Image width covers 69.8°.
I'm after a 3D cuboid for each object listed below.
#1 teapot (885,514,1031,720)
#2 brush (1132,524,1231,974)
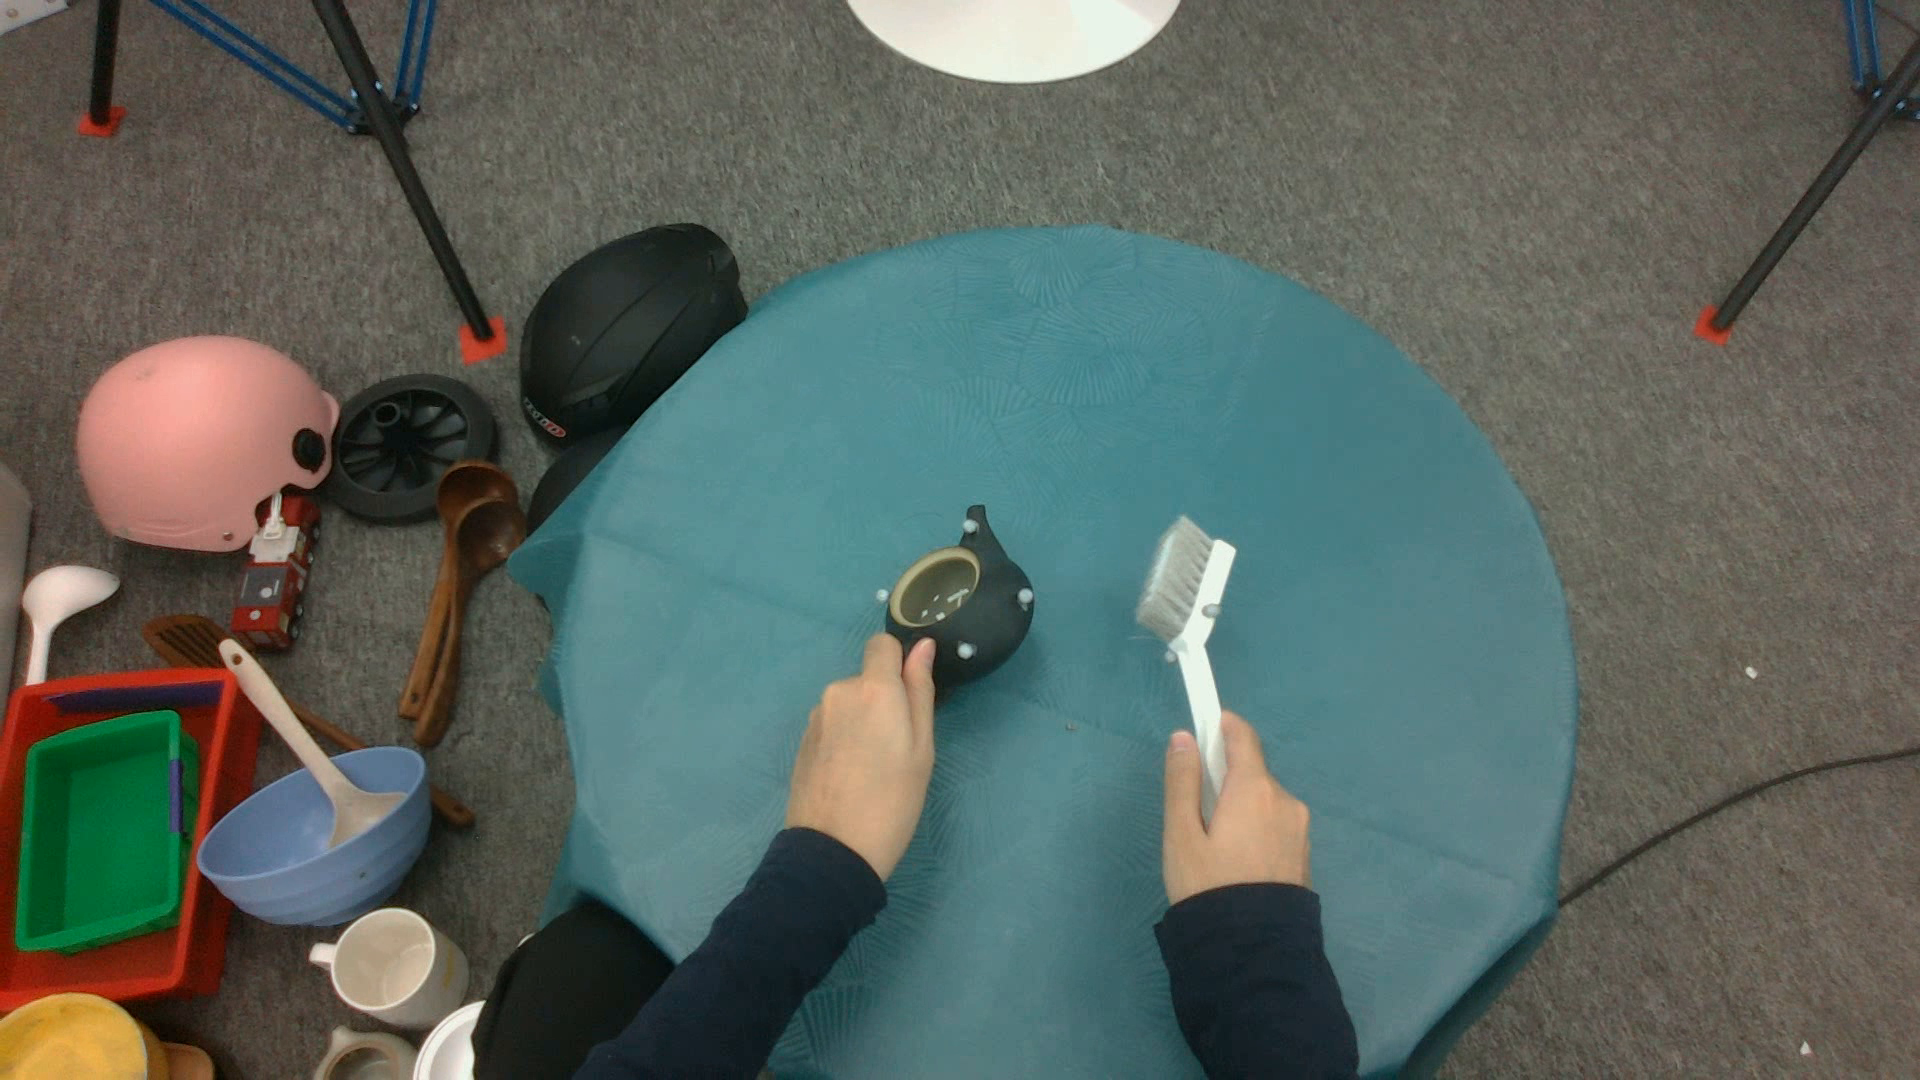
[{"bbox_3d":[-0.003,0.048,0.788,0.090,0.053,0.134,-9,42,37],"label":"teapot"},{"bbox_3d":[0.116,0.103,0.733,0.050,0.034,0.244,17,60,-18],"label":"brush"}]
